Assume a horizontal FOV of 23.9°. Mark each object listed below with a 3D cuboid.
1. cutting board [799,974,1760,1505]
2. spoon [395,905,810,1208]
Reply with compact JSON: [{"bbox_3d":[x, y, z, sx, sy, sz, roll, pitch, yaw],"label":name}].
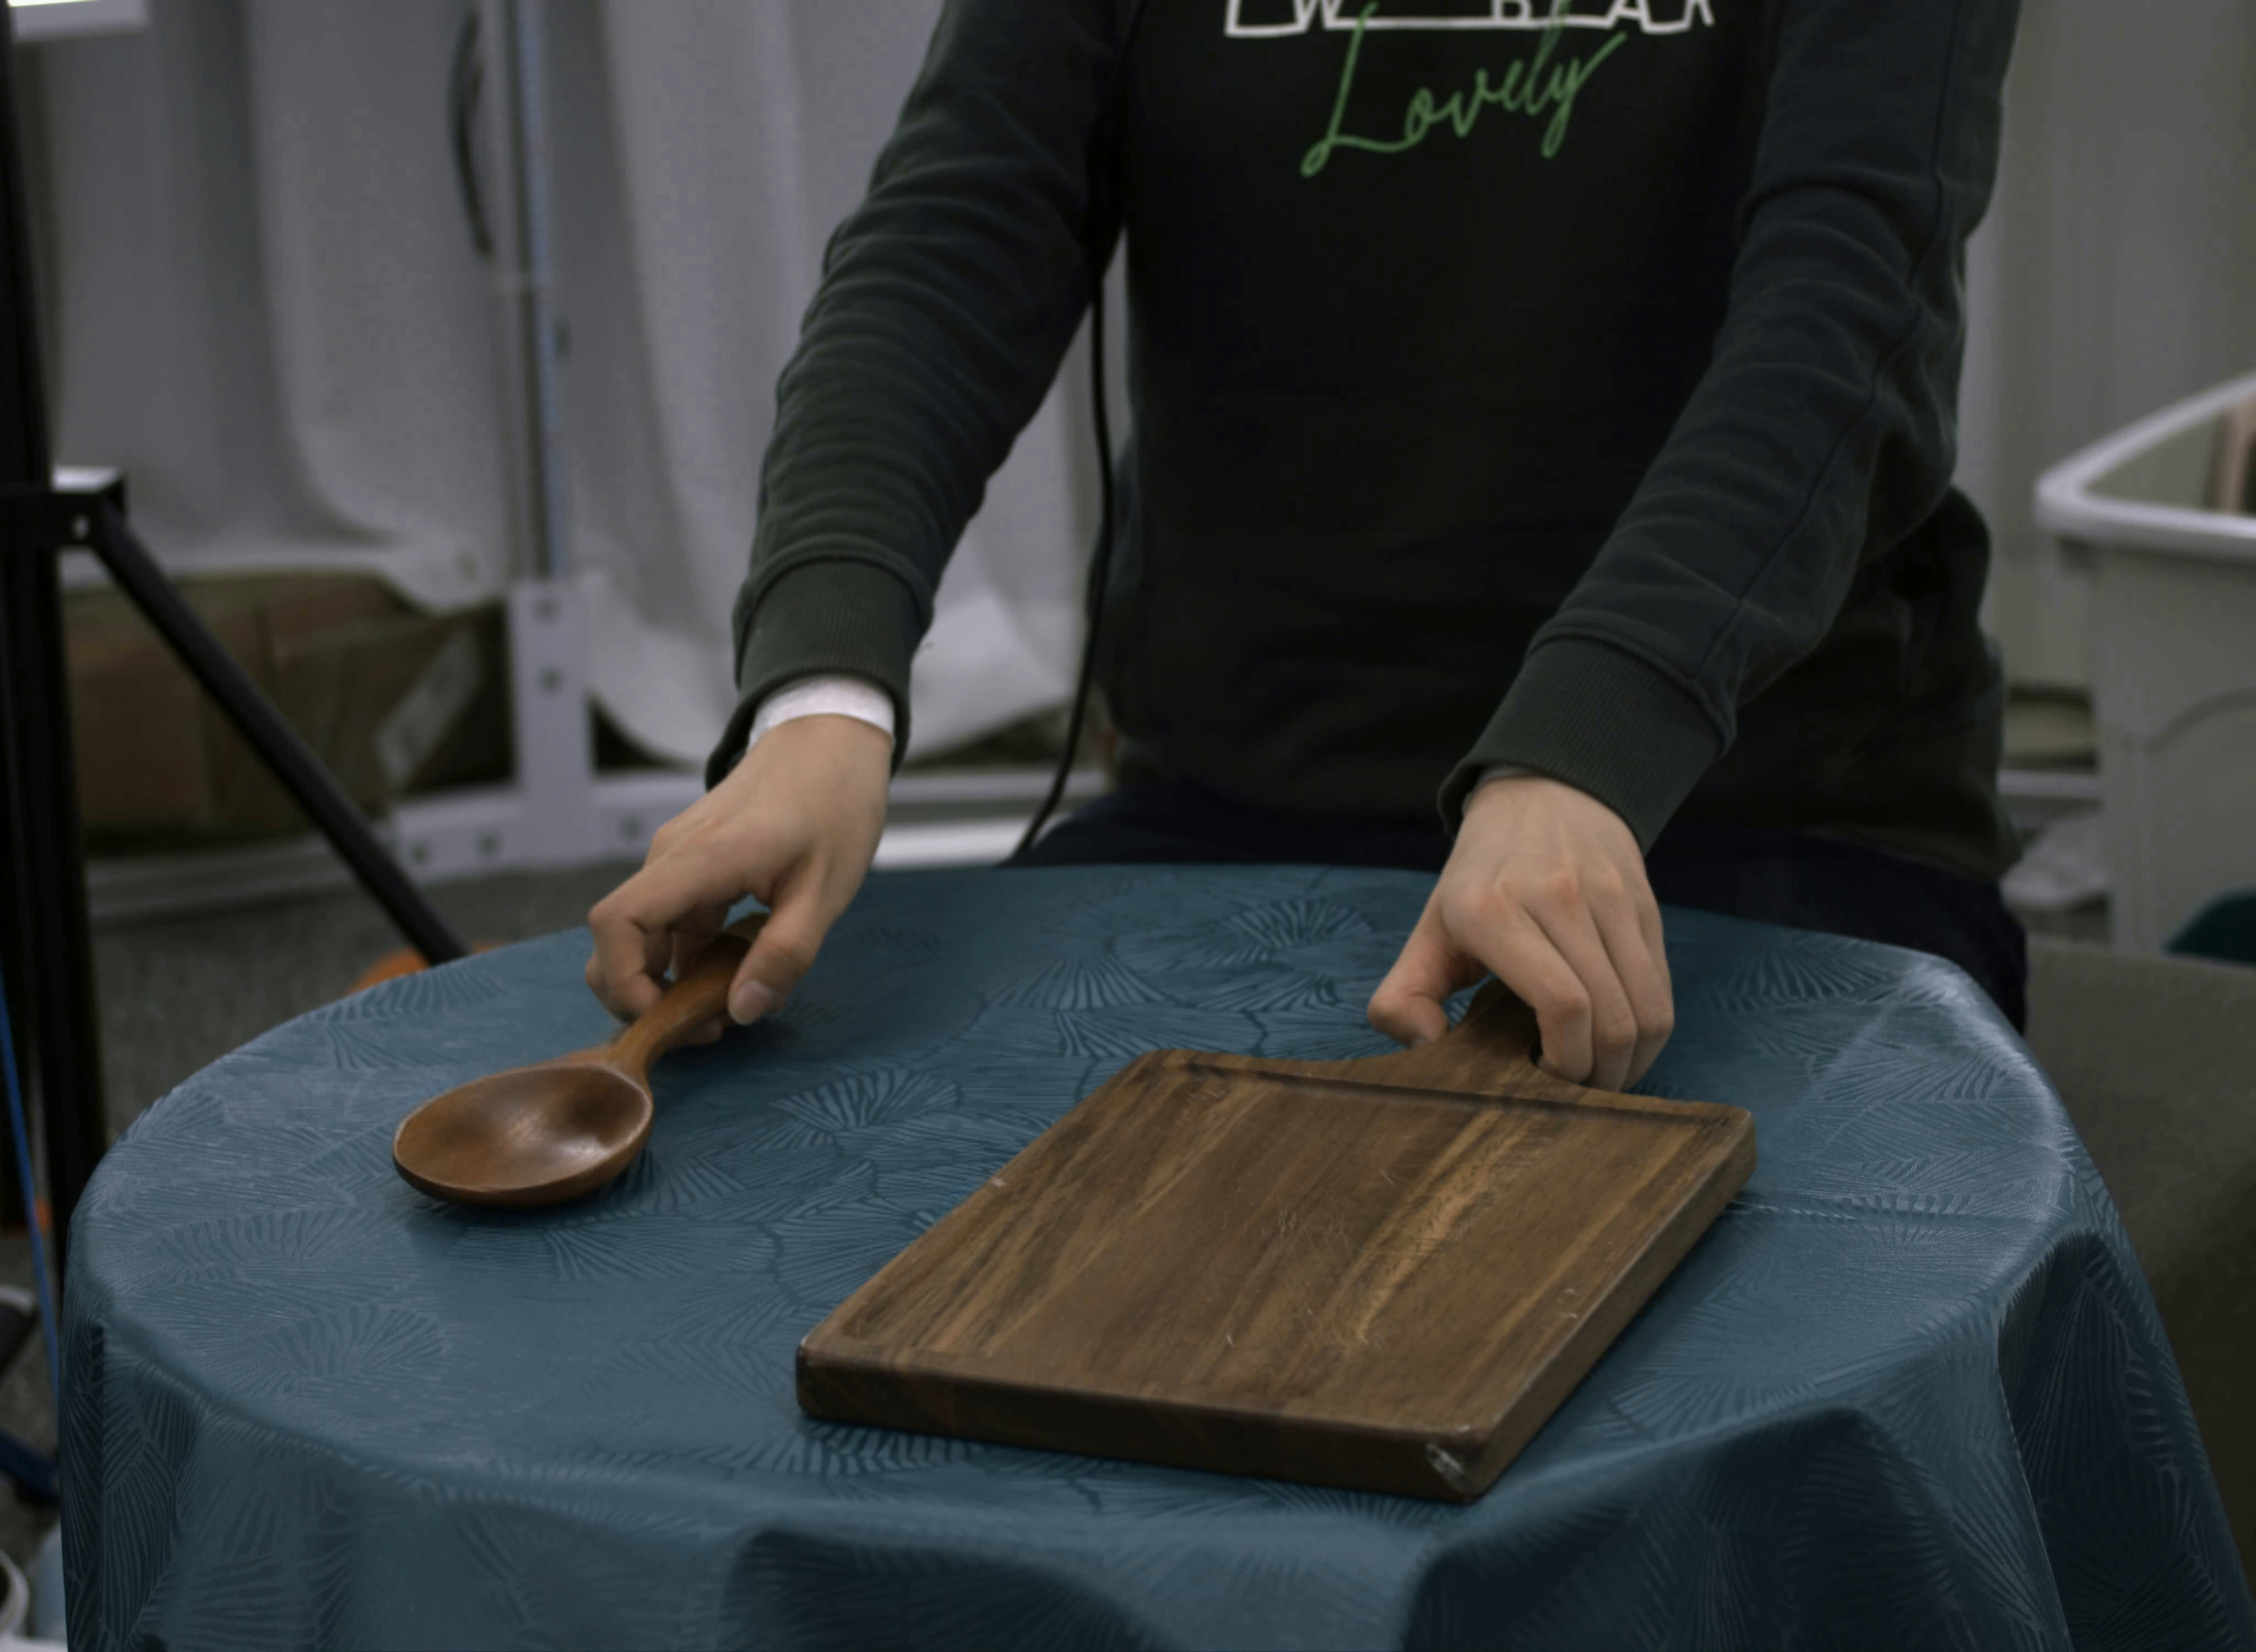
[{"bbox_3d":[0.067,0.106,1.506,0.204,0.023,0.347,4,18,24],"label":"cutting board"},{"bbox_3d":[-0.153,0.072,1.647,0.076,0.017,0.213,4,24,24],"label":"spoon"}]
